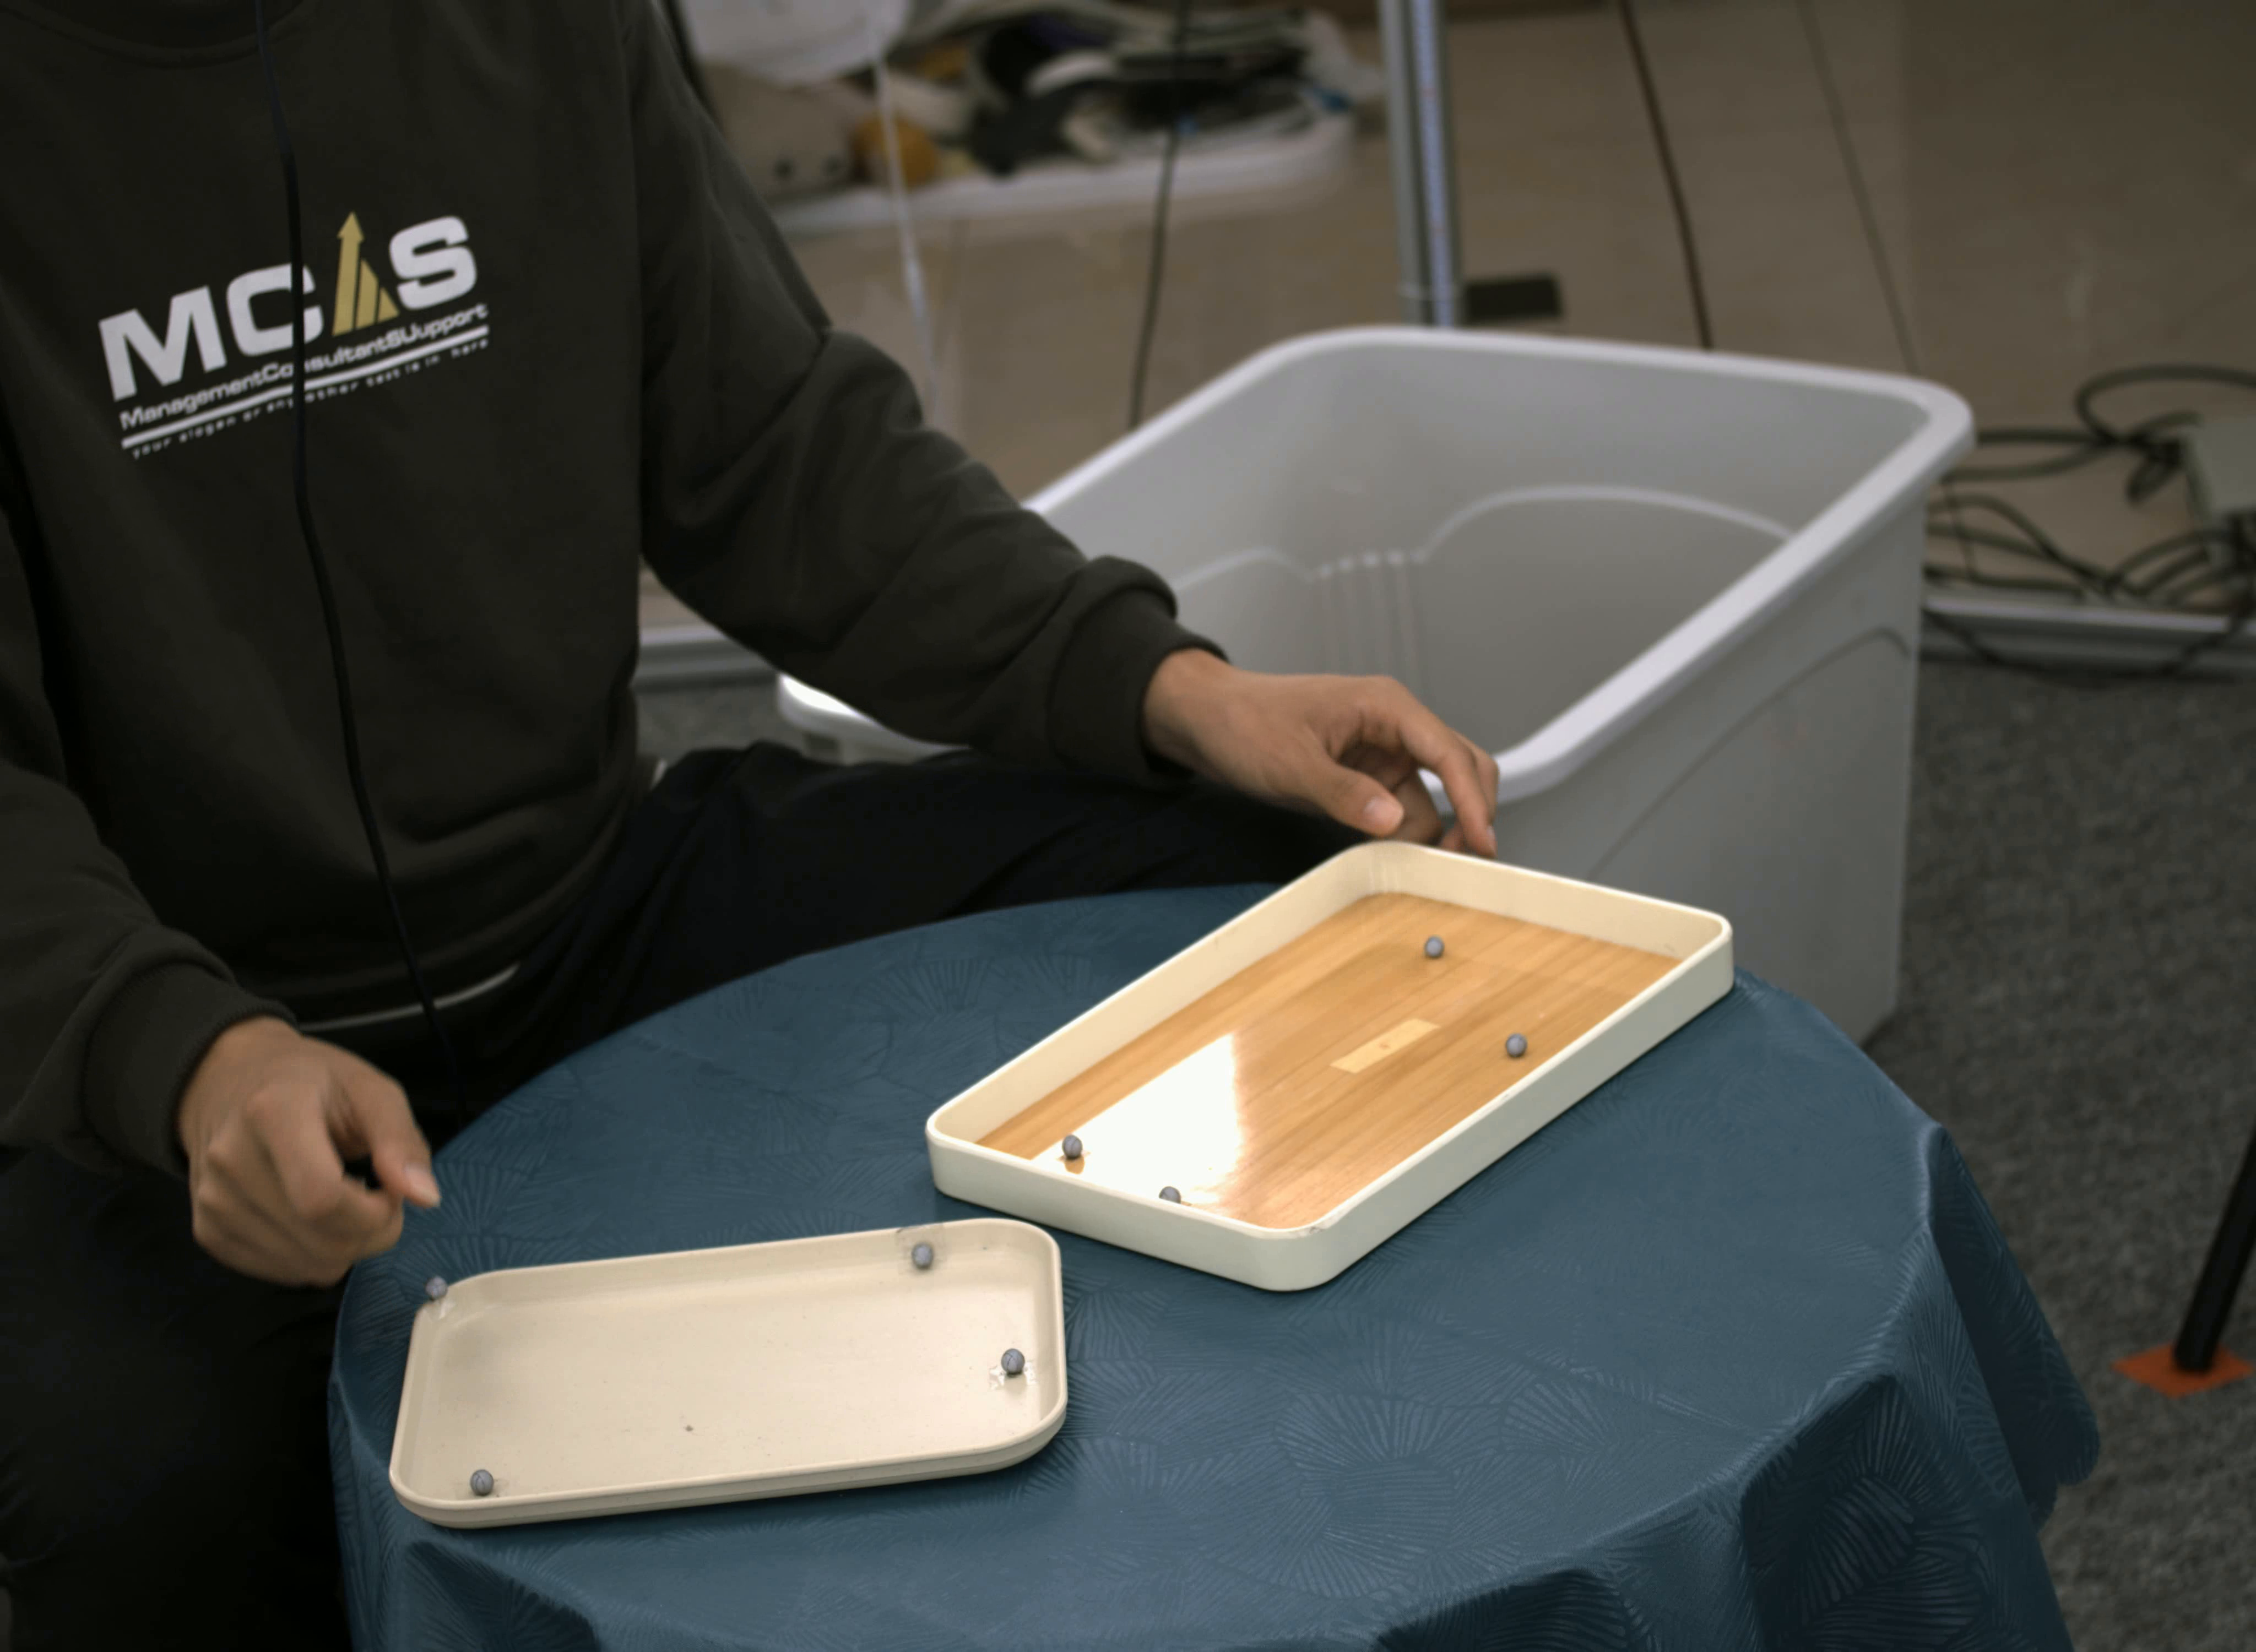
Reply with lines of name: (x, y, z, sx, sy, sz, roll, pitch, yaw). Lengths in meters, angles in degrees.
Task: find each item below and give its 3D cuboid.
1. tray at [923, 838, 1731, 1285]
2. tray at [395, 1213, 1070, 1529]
tray: (0.081, 0.087, 2.208, 0.190, 0.028, 0.297, 13, 31, 37)
tray: (-0.140, 0.196, 2.036, 0.239, 0.018, 0.169, -6, 25, 1)
